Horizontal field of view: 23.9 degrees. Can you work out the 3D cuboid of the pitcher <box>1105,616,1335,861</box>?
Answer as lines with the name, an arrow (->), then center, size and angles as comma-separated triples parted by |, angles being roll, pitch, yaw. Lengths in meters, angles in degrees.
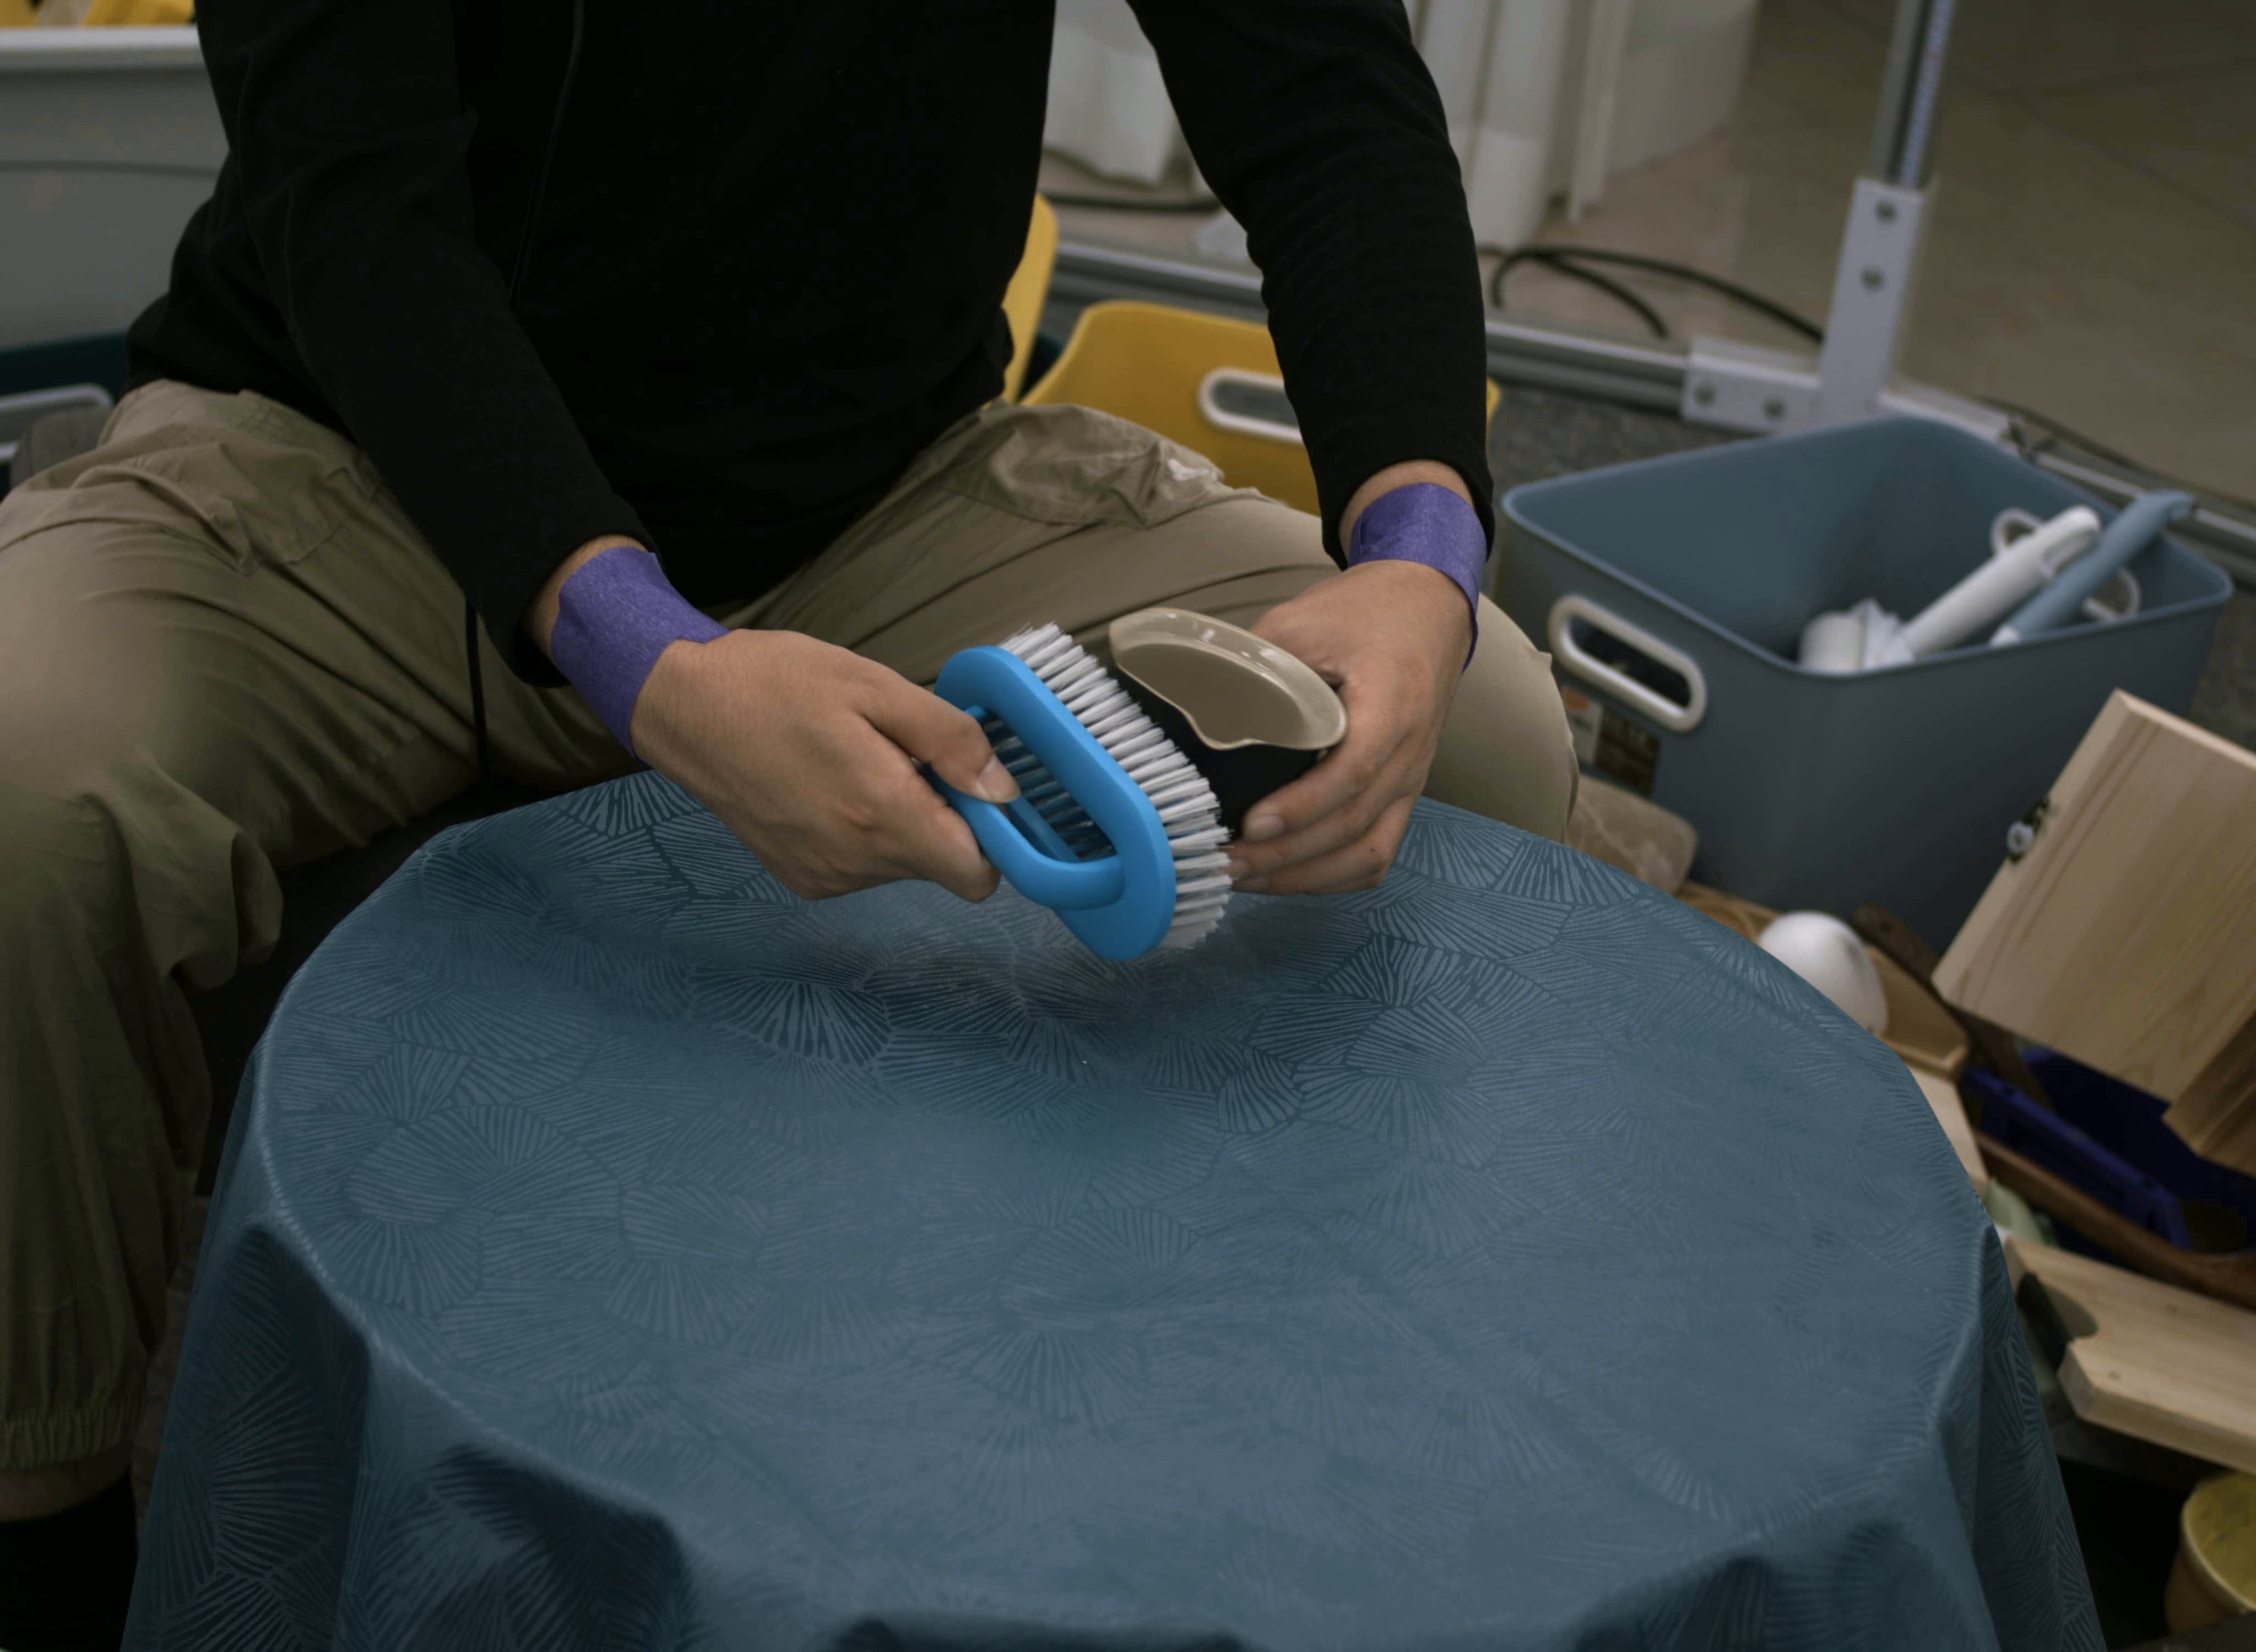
pitcher -> 0.024, -0.026, 1.917 | 0.083, 0.071, 0.096 | 26, 27, 2

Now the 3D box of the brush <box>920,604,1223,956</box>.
brush -> -0.030, -0.010, 1.877 | 0.063, 0.084, 0.143 | -19, 53, -31
